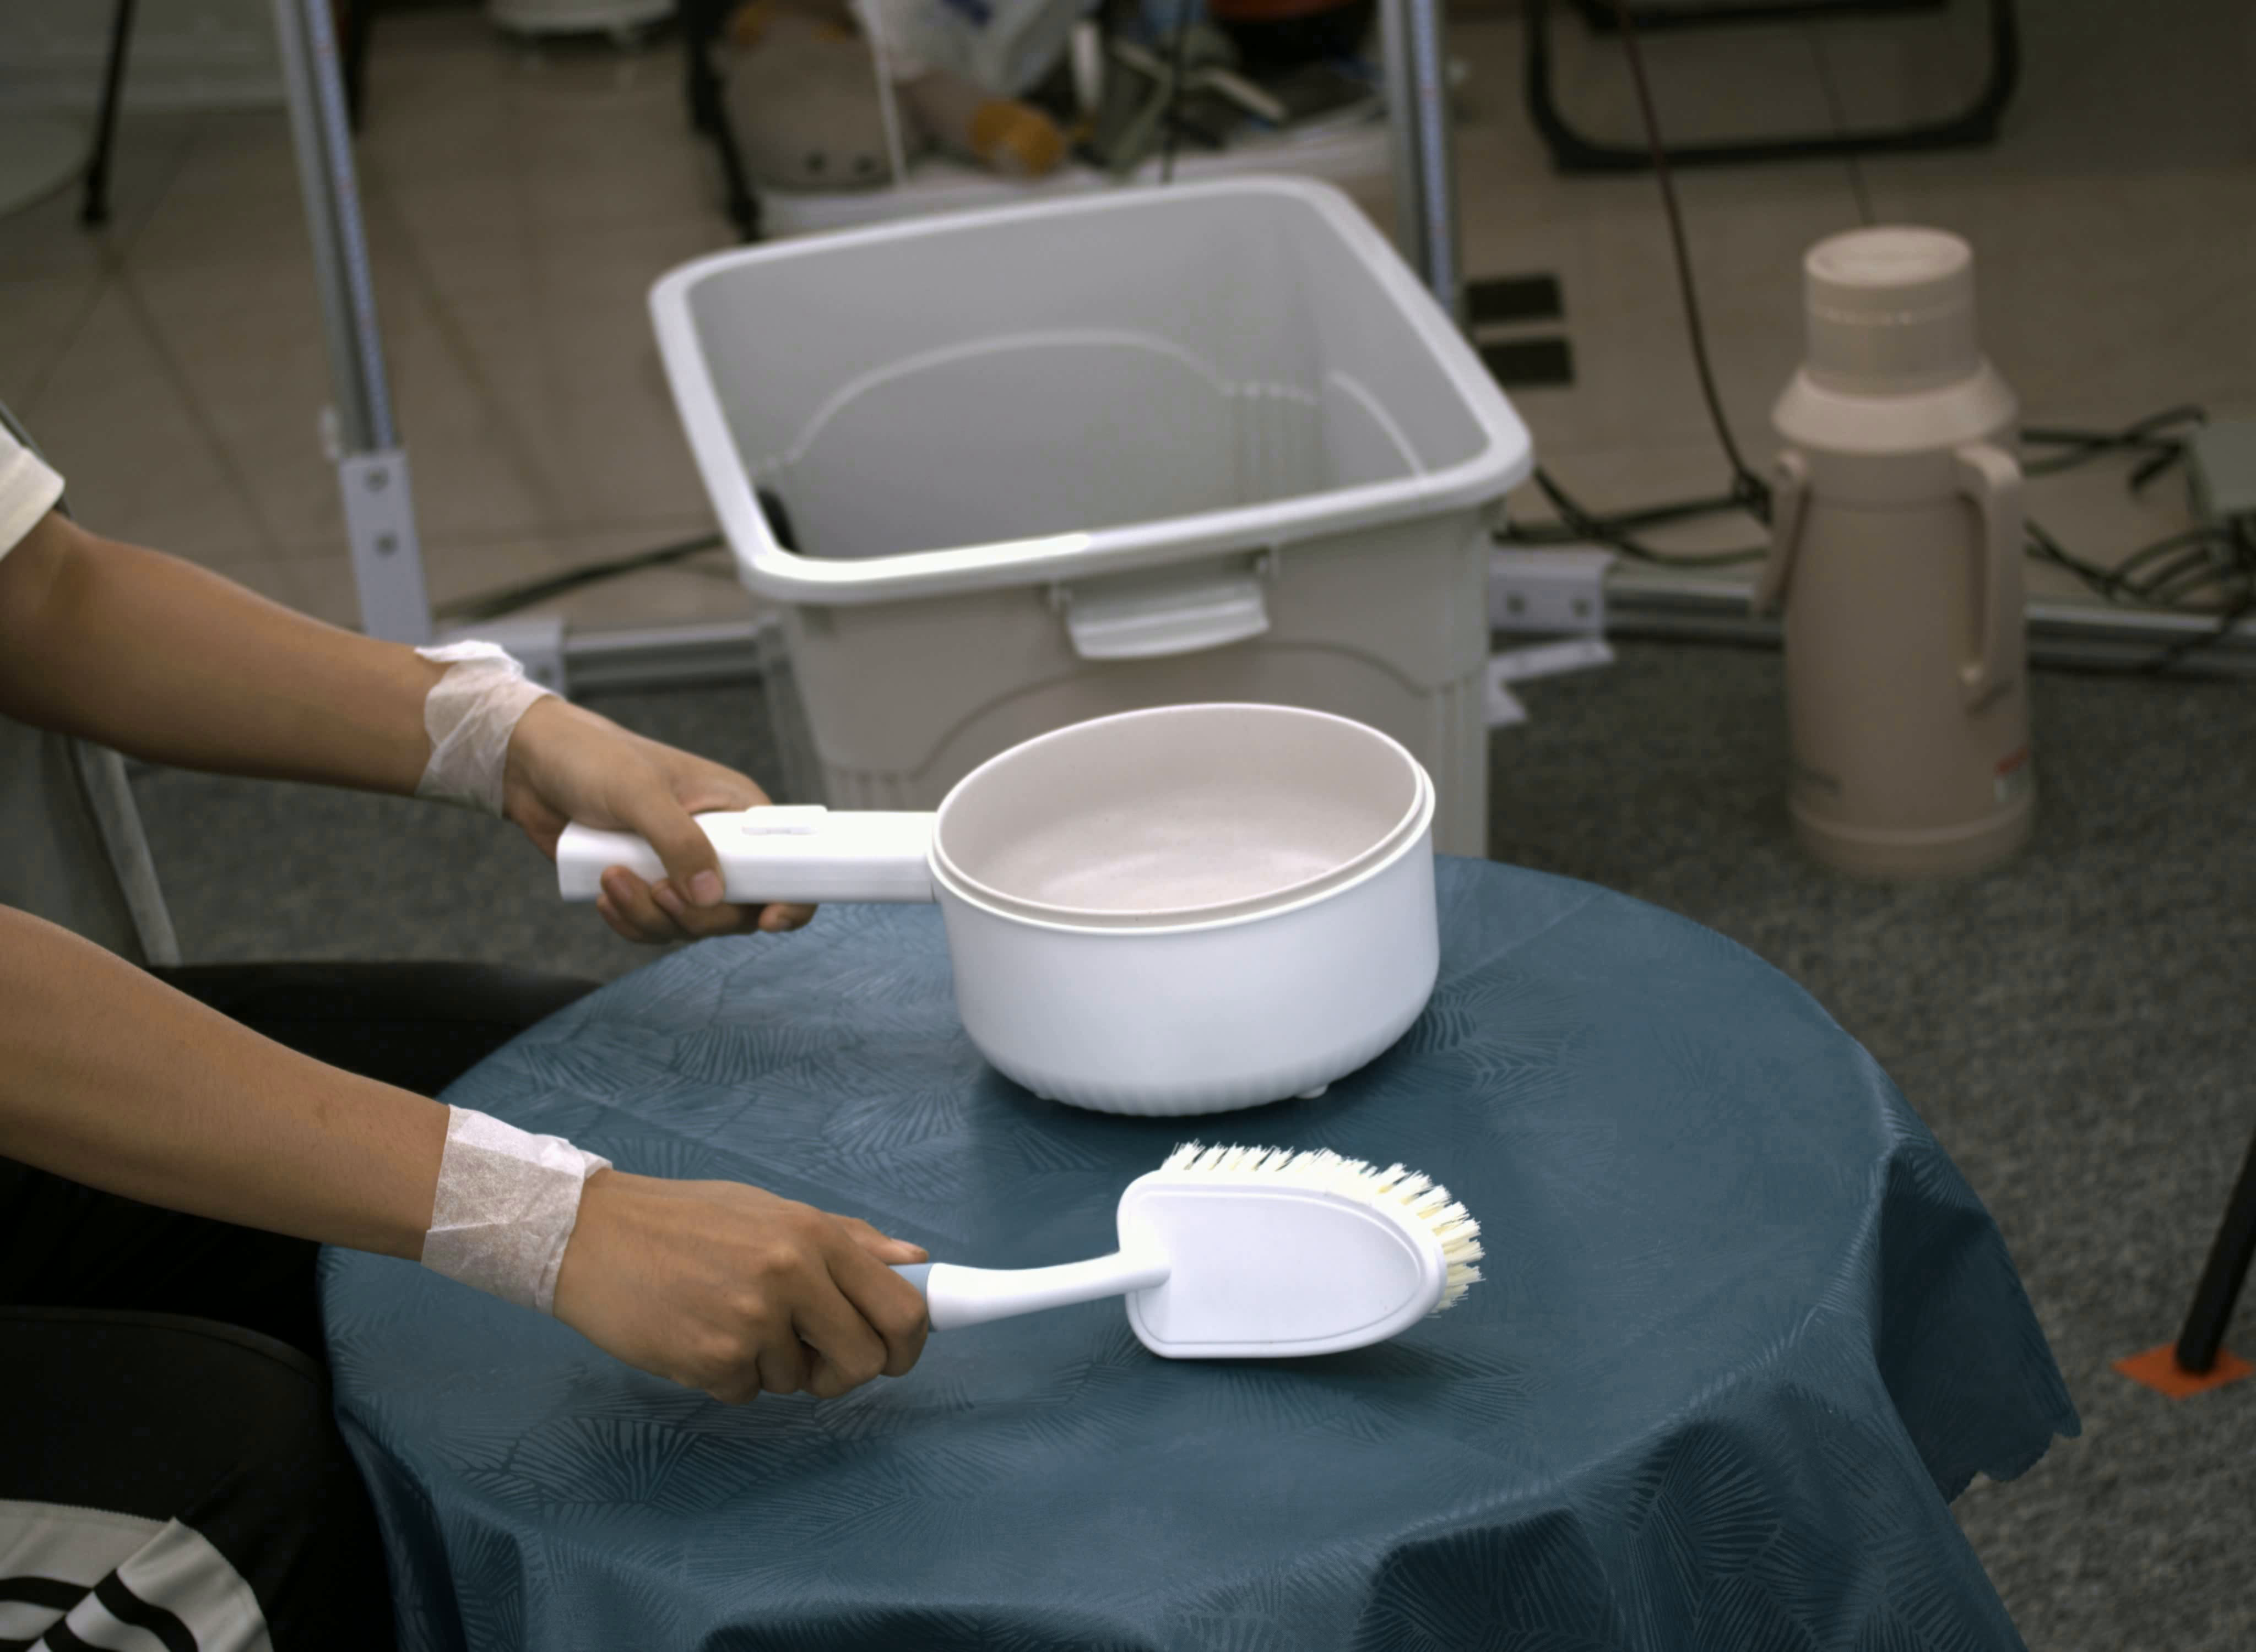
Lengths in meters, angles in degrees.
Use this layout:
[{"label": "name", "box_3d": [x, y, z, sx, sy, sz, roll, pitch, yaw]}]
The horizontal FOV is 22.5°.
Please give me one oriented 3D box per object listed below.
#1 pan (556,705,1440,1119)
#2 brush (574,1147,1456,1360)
[{"label": "pan", "box_3d": [-0.050, 0.039, 2.260, 0.354, 0.104, 0.198, -1, 26, 13]}, {"label": "brush", "box_3d": [-0.040, 0.155, 2.045, 0.325, 0.086, 0.082, -4, 62, 16]}]
